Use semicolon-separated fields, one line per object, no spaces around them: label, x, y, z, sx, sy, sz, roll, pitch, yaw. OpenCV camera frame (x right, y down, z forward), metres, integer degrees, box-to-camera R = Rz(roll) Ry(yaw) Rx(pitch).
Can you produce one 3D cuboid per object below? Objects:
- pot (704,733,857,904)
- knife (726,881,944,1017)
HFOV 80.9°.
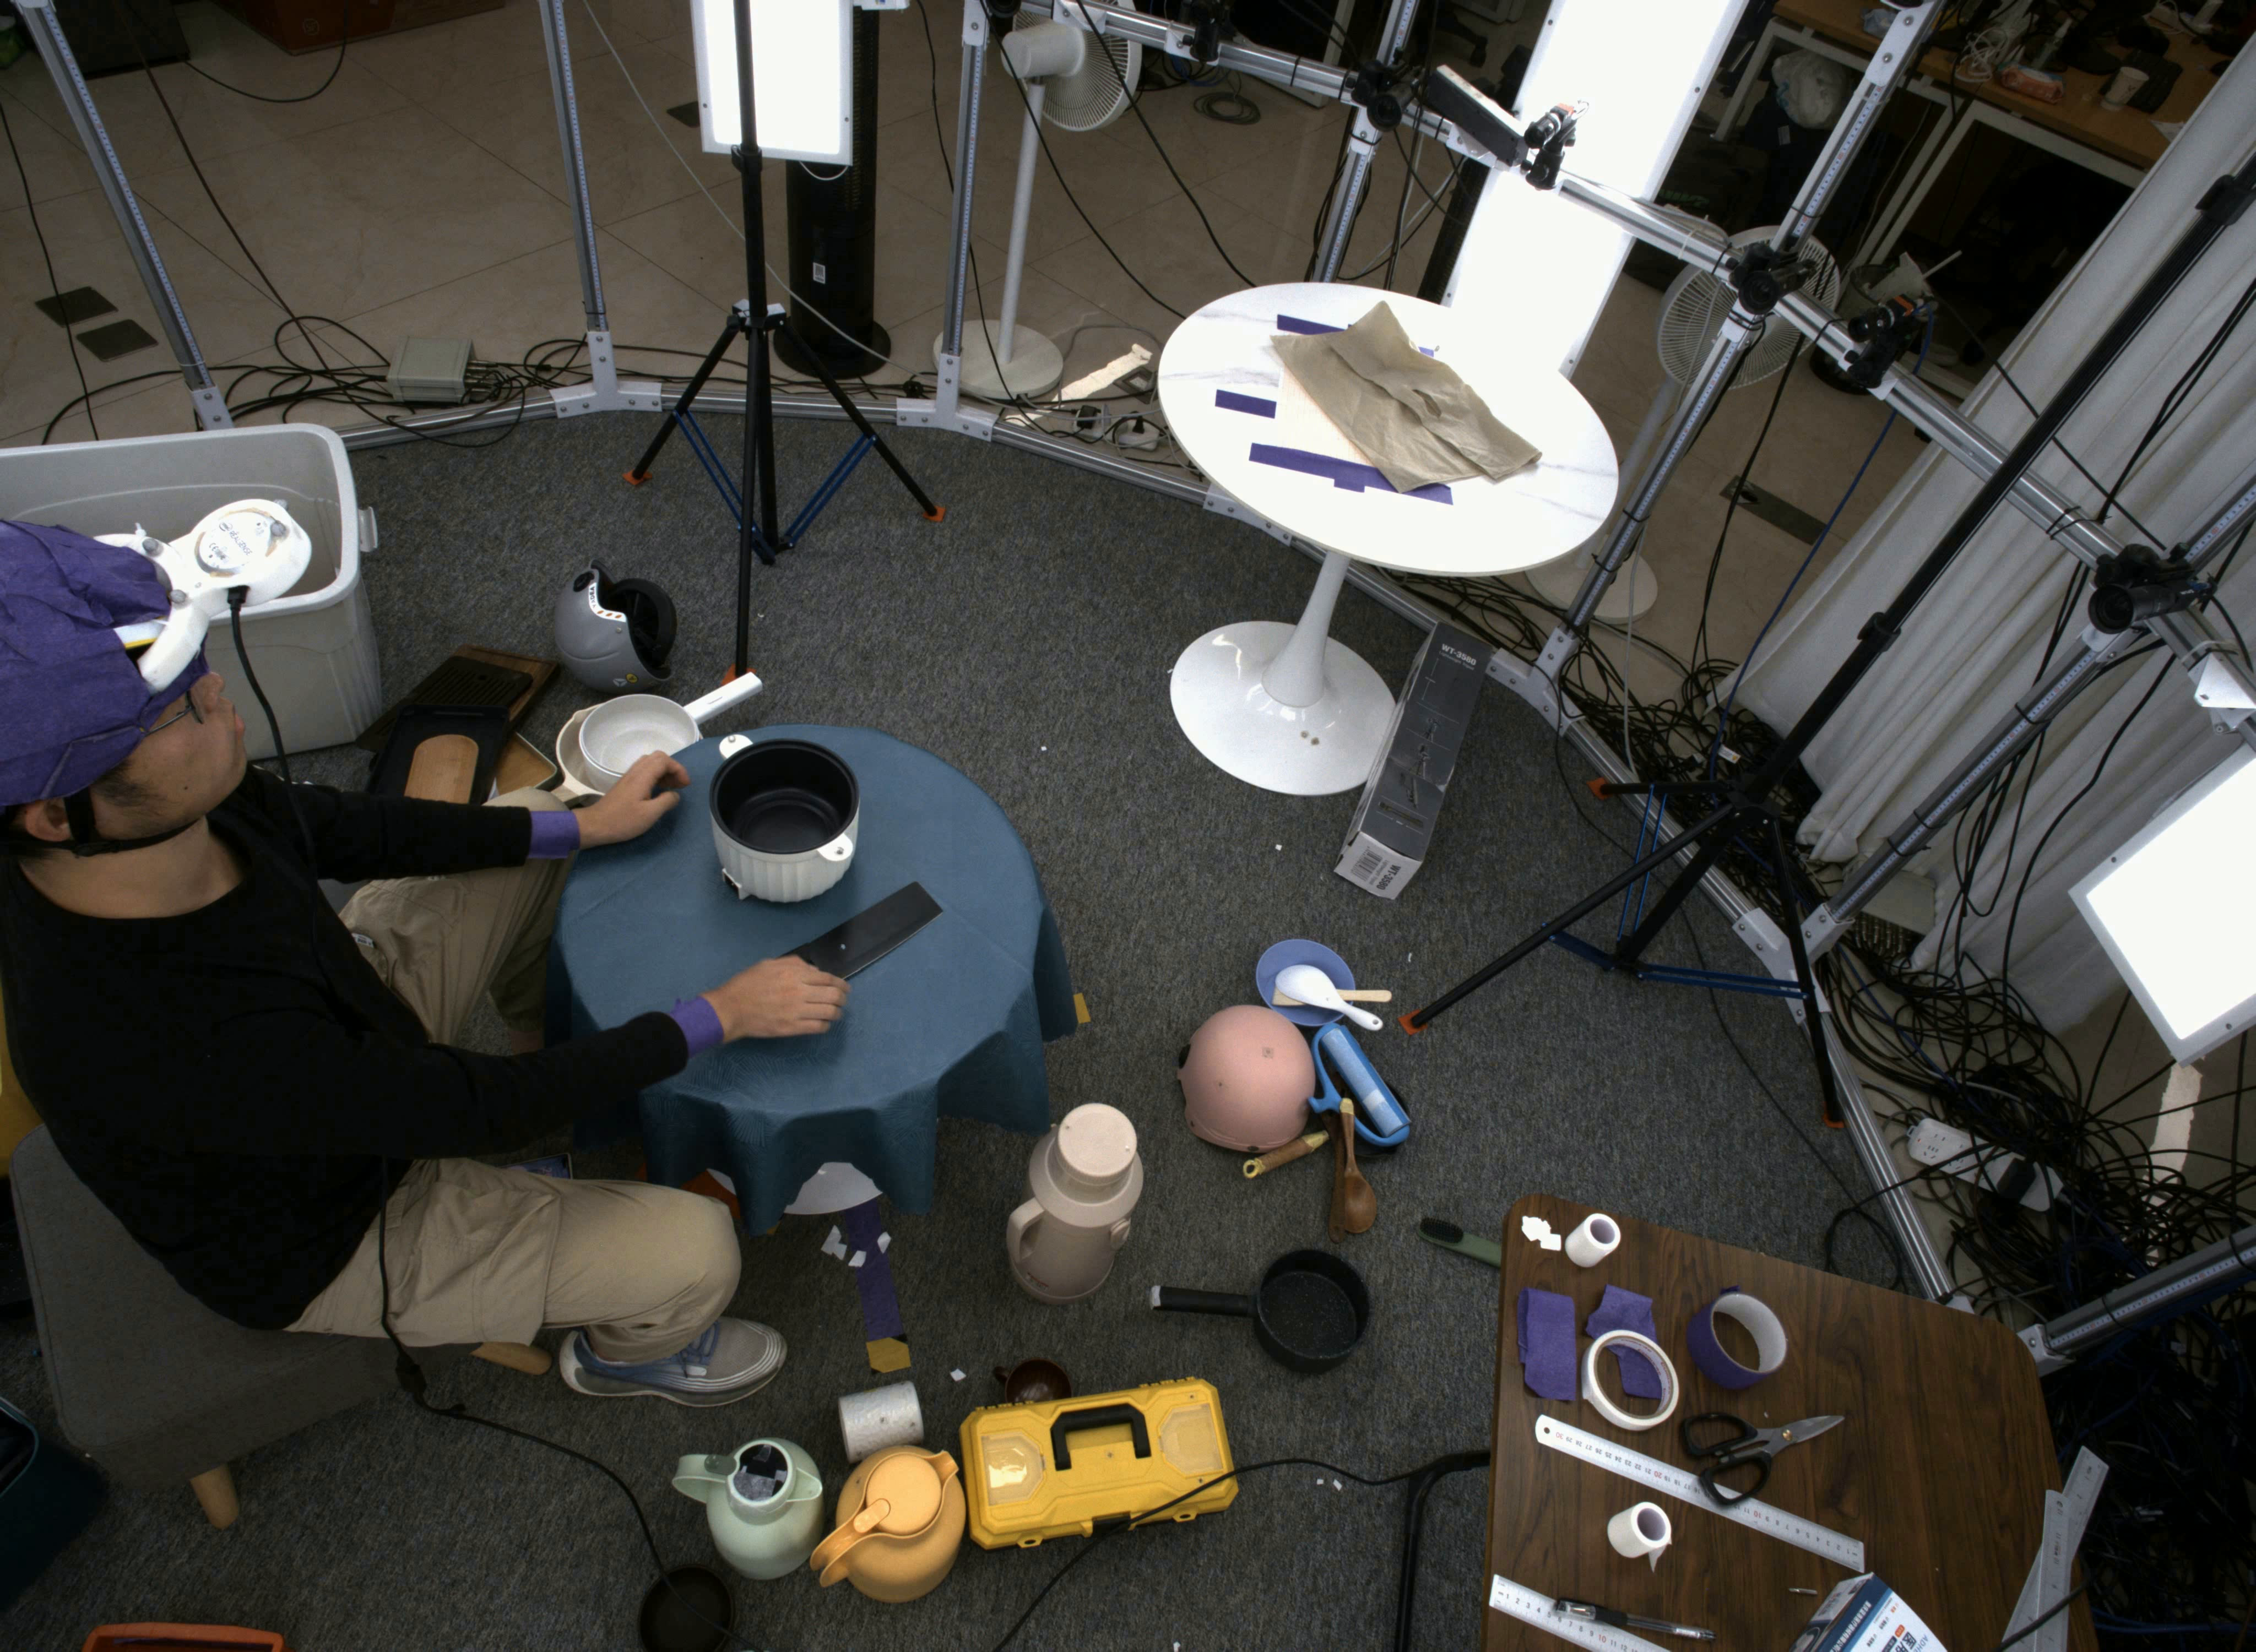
pot;-0.429;-0.005;1.634;0.235;0.145;0.191;41;58;16
knife;-0.364;0.154;1.613;0.304;0.021;0.079;-27;65;-32
